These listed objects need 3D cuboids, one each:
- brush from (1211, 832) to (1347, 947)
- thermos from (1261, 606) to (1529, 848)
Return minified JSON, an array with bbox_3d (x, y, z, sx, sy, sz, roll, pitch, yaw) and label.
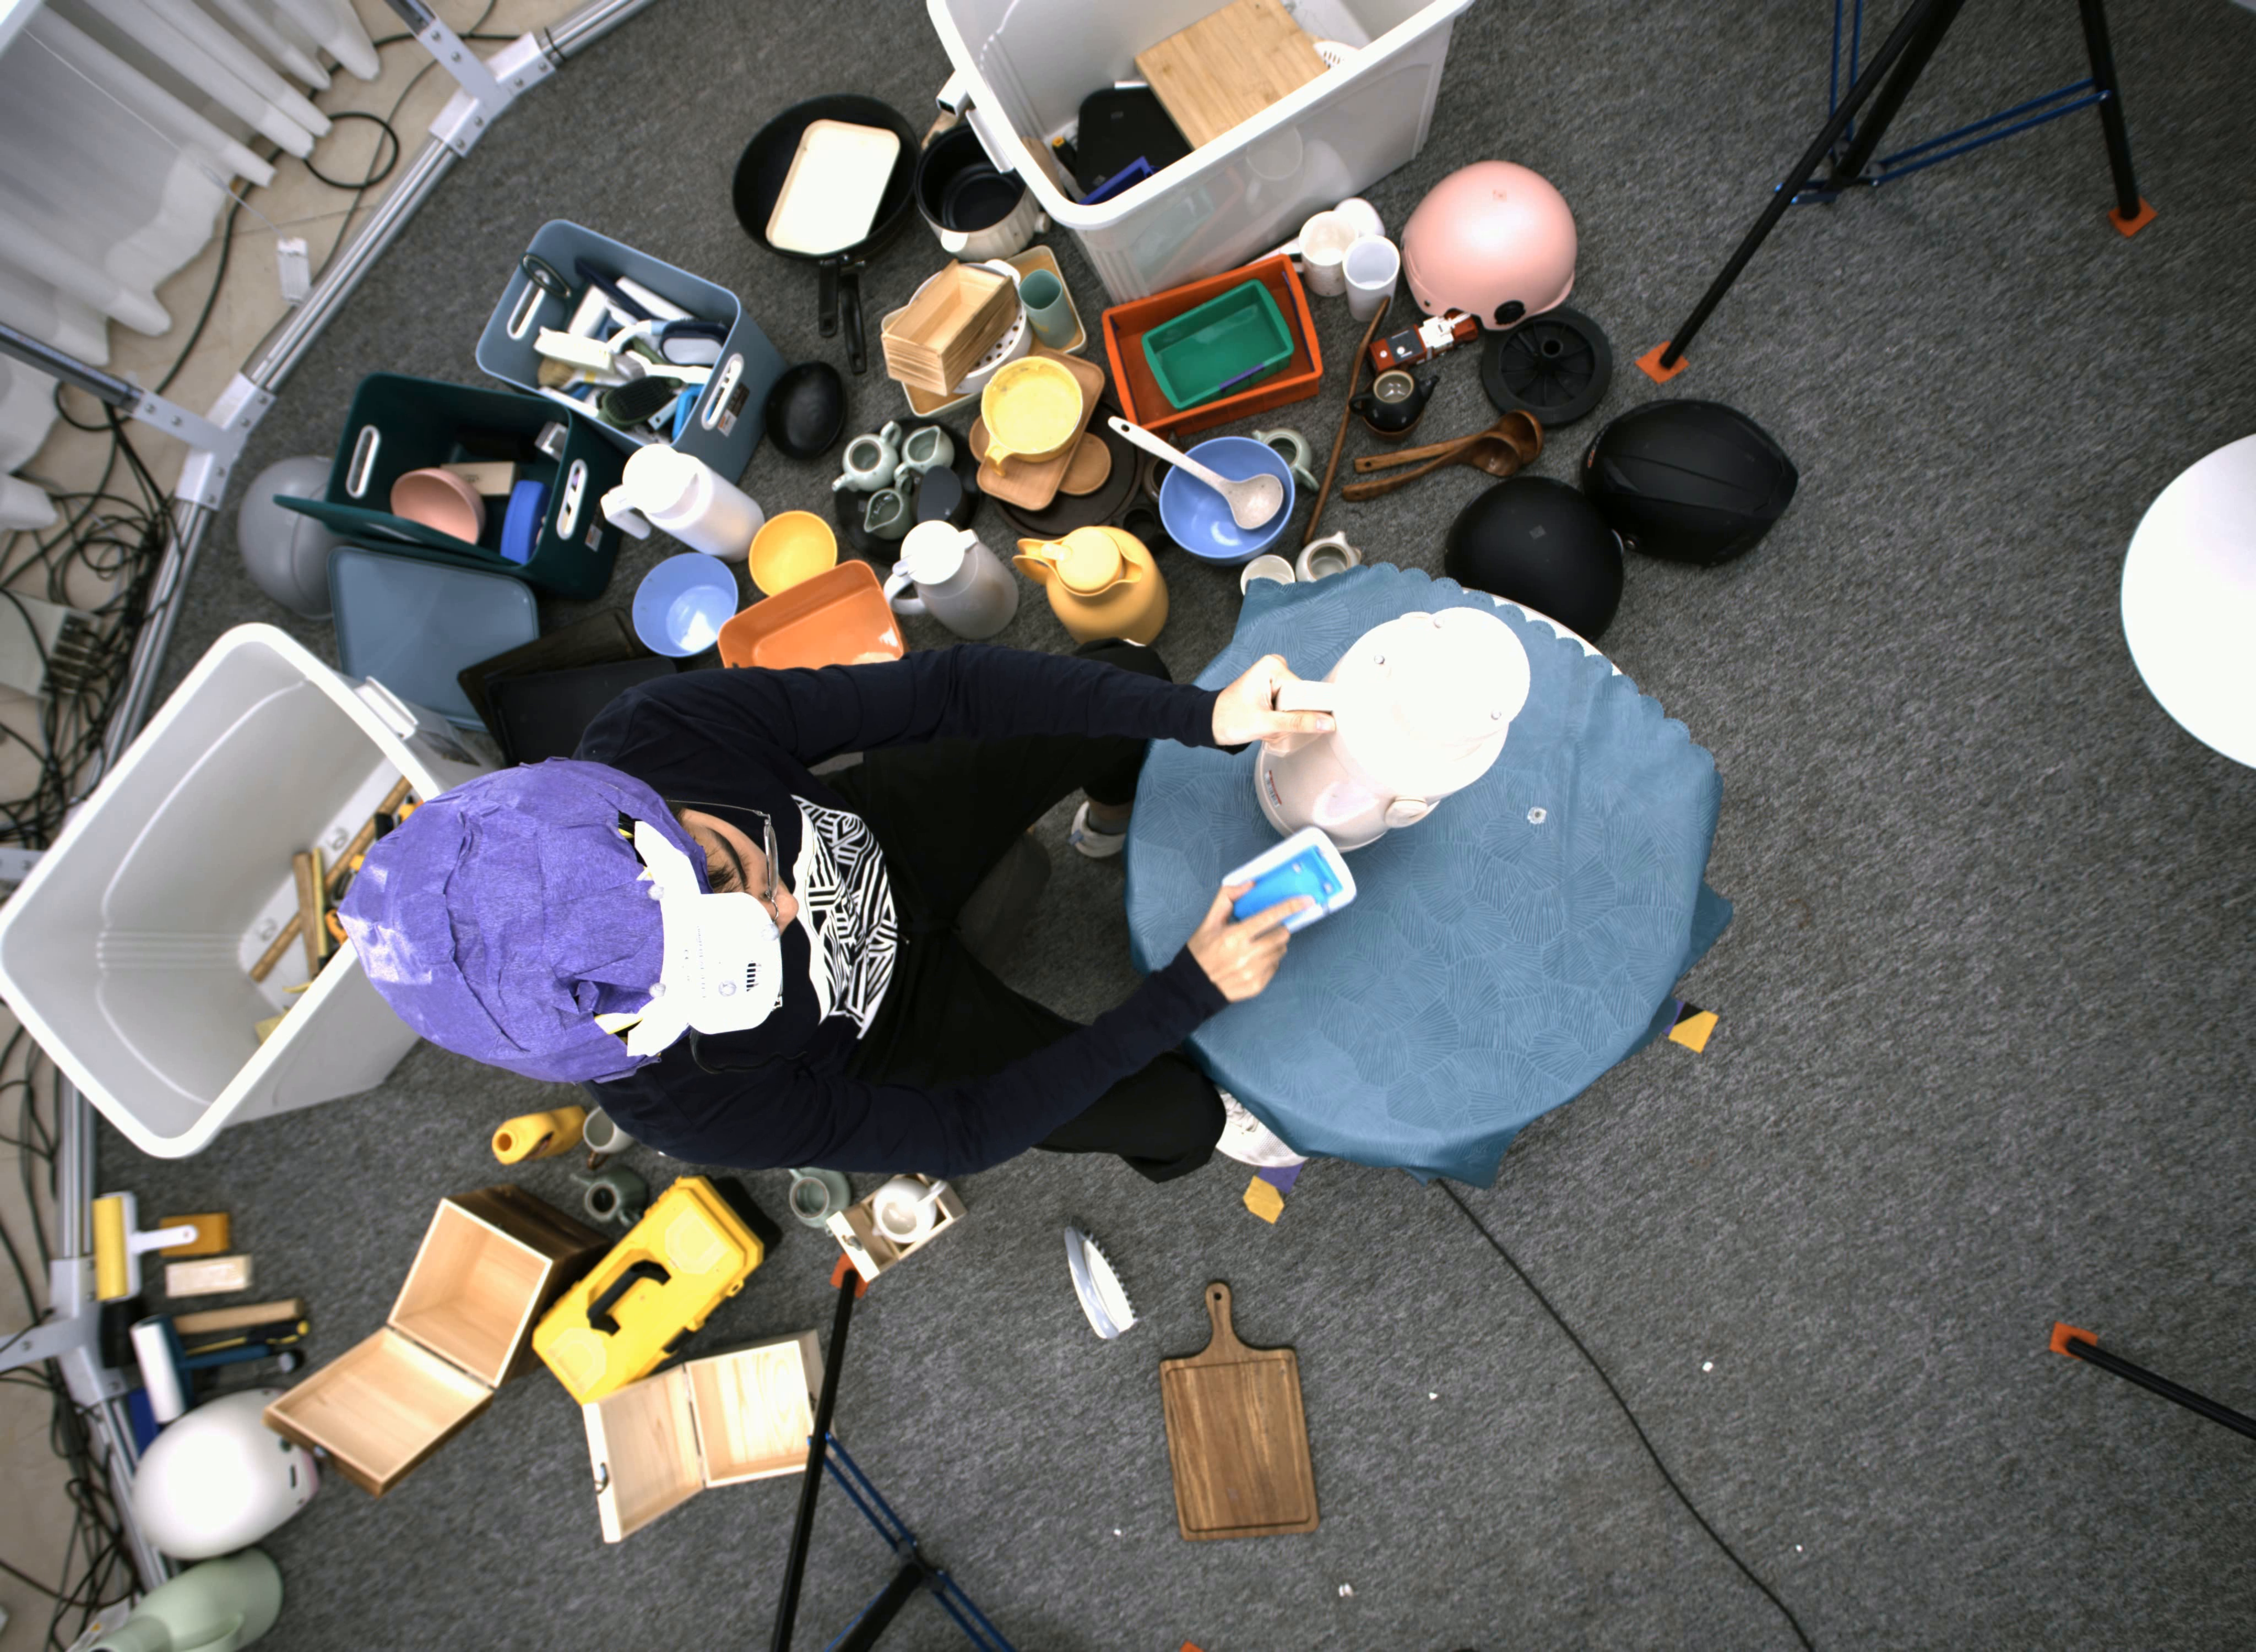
[{"bbox_3d":[0.142,0.067,1.374,0.147,0.055,0.084,-31,89,37],"label":"brush"},{"bbox_3d":[0.225,-0.091,1.257,0.207,0.409,0.174,4,81,-6],"label":"thermos"}]
